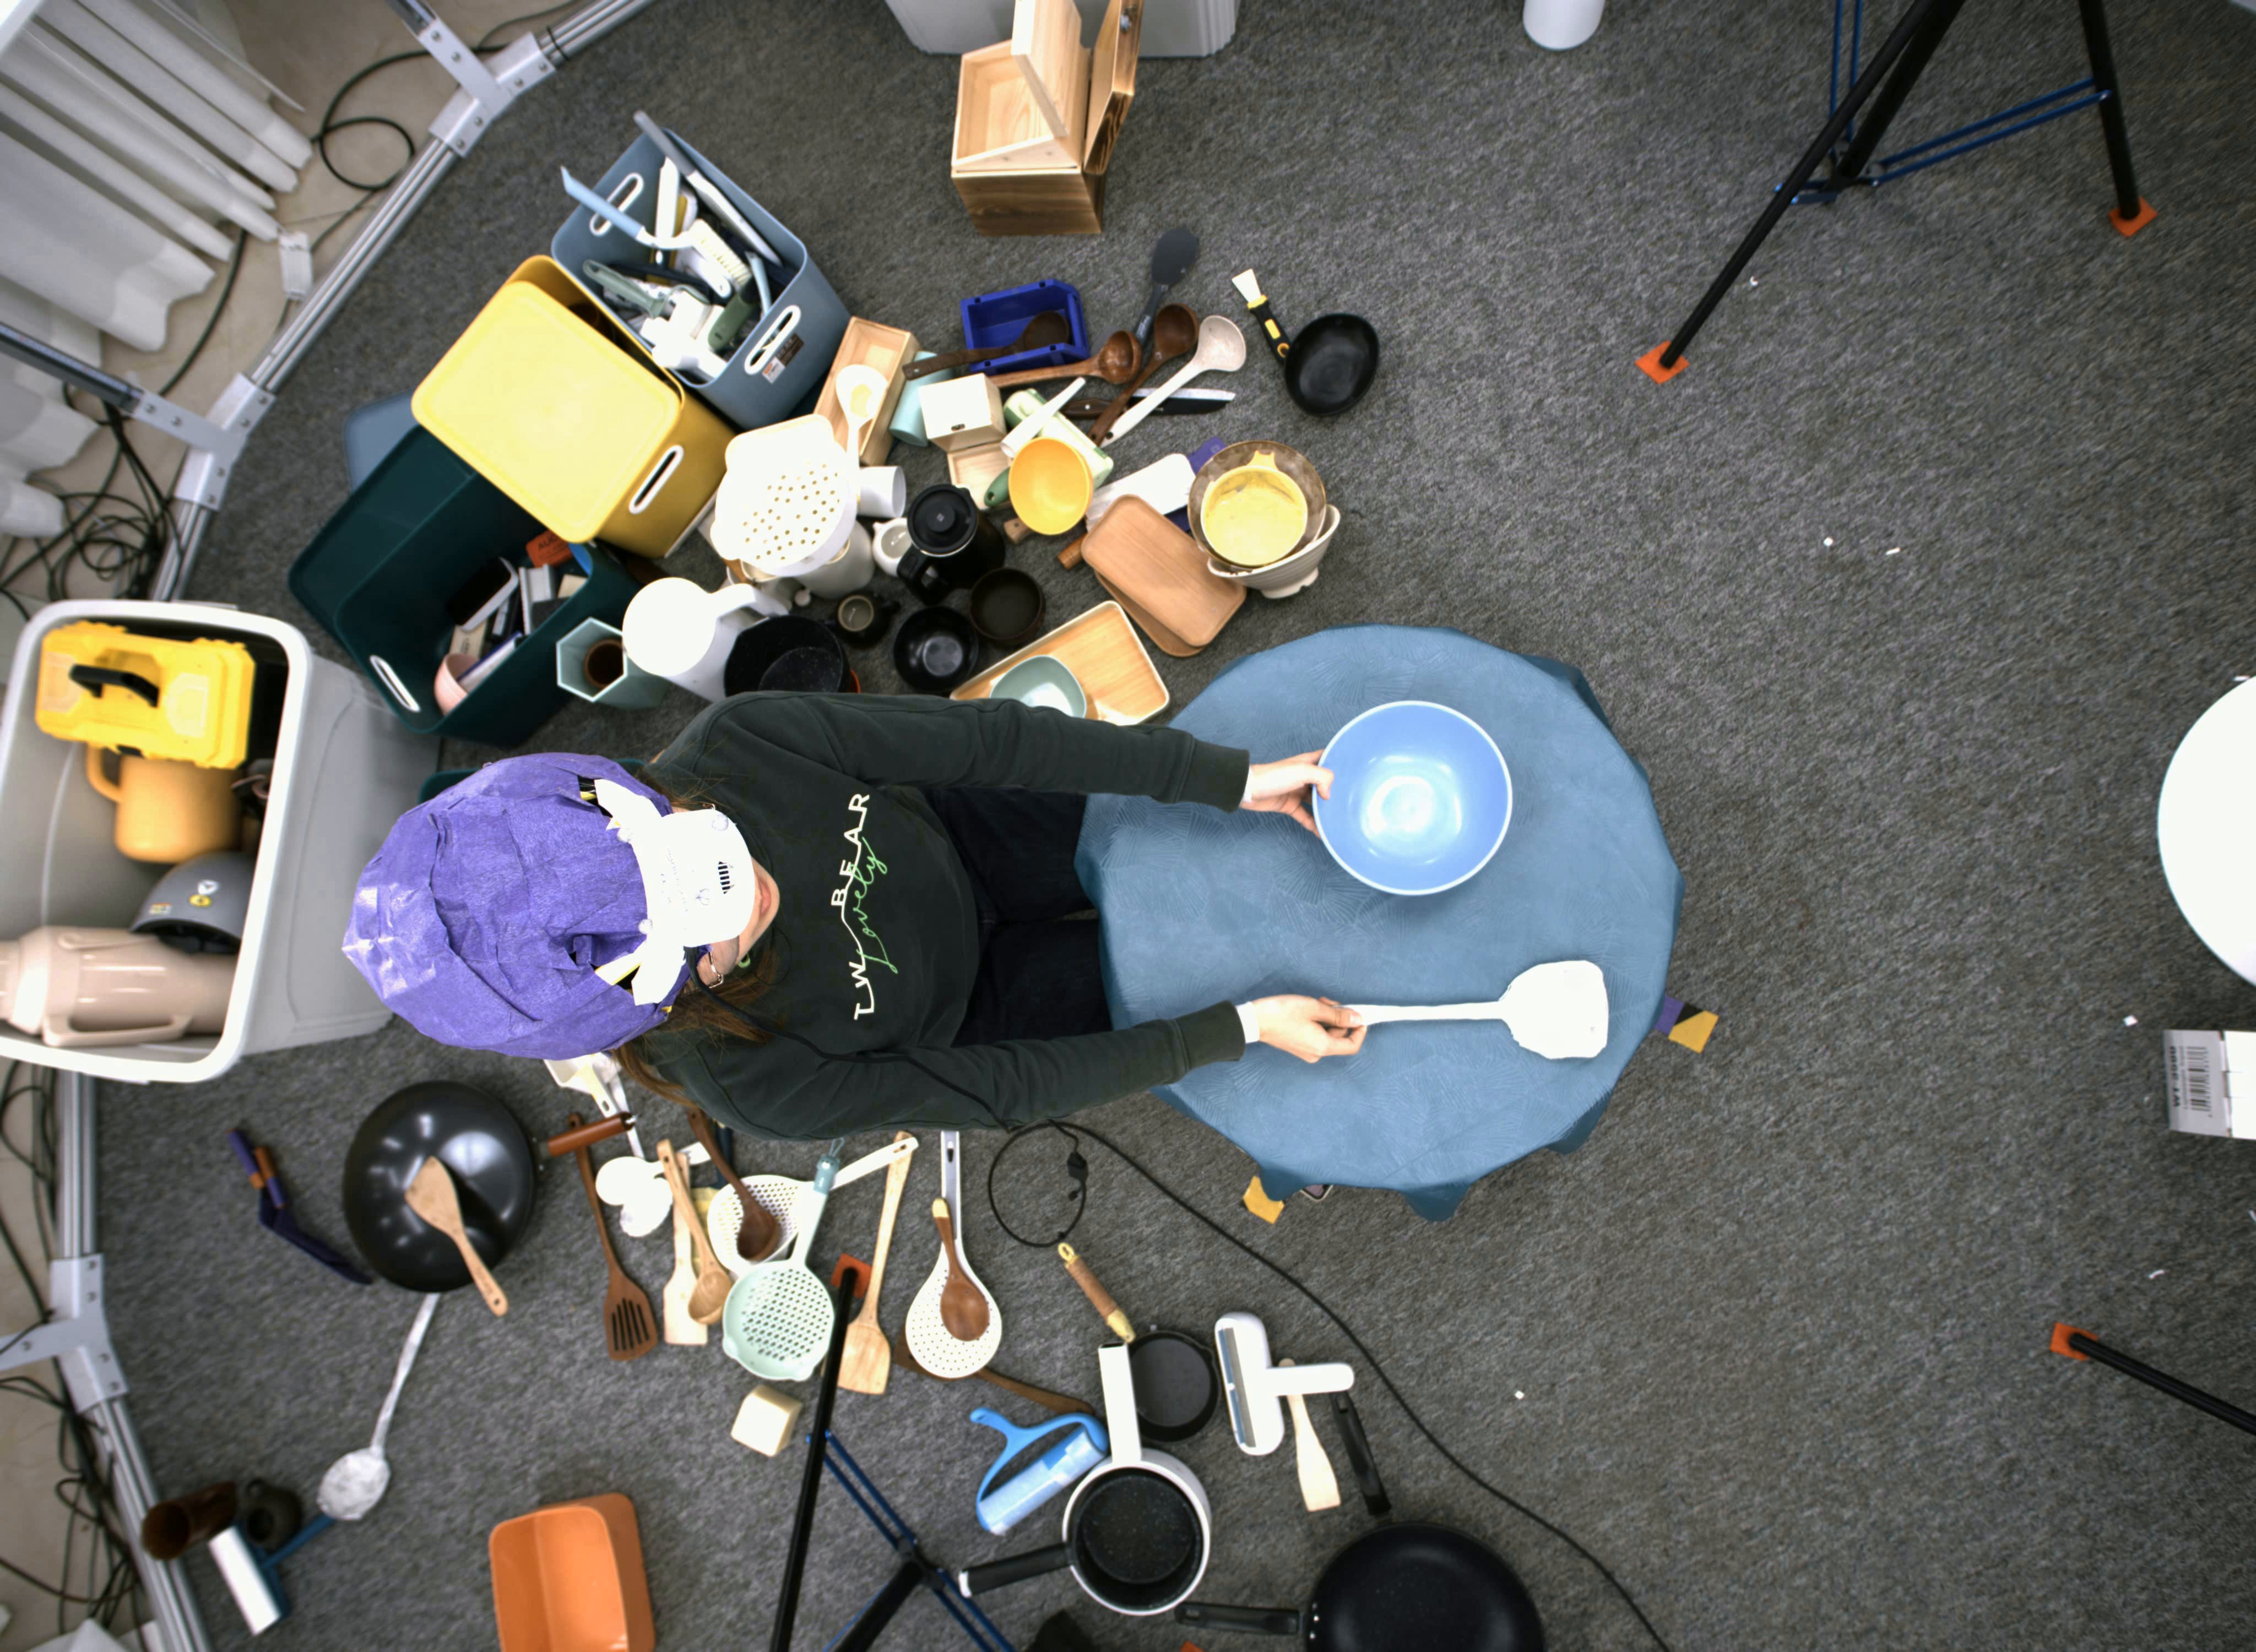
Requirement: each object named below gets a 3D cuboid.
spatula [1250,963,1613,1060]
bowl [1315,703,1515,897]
[{"bbox_3d":[0.308,0.189,1.420,0.366,0.045,0.098,-1,89,5],"label":"spatula"},{"bbox_3d":[0.291,-0.021,1.416,0.197,0.096,0.195,-1,84,8],"label":"bowl"}]
